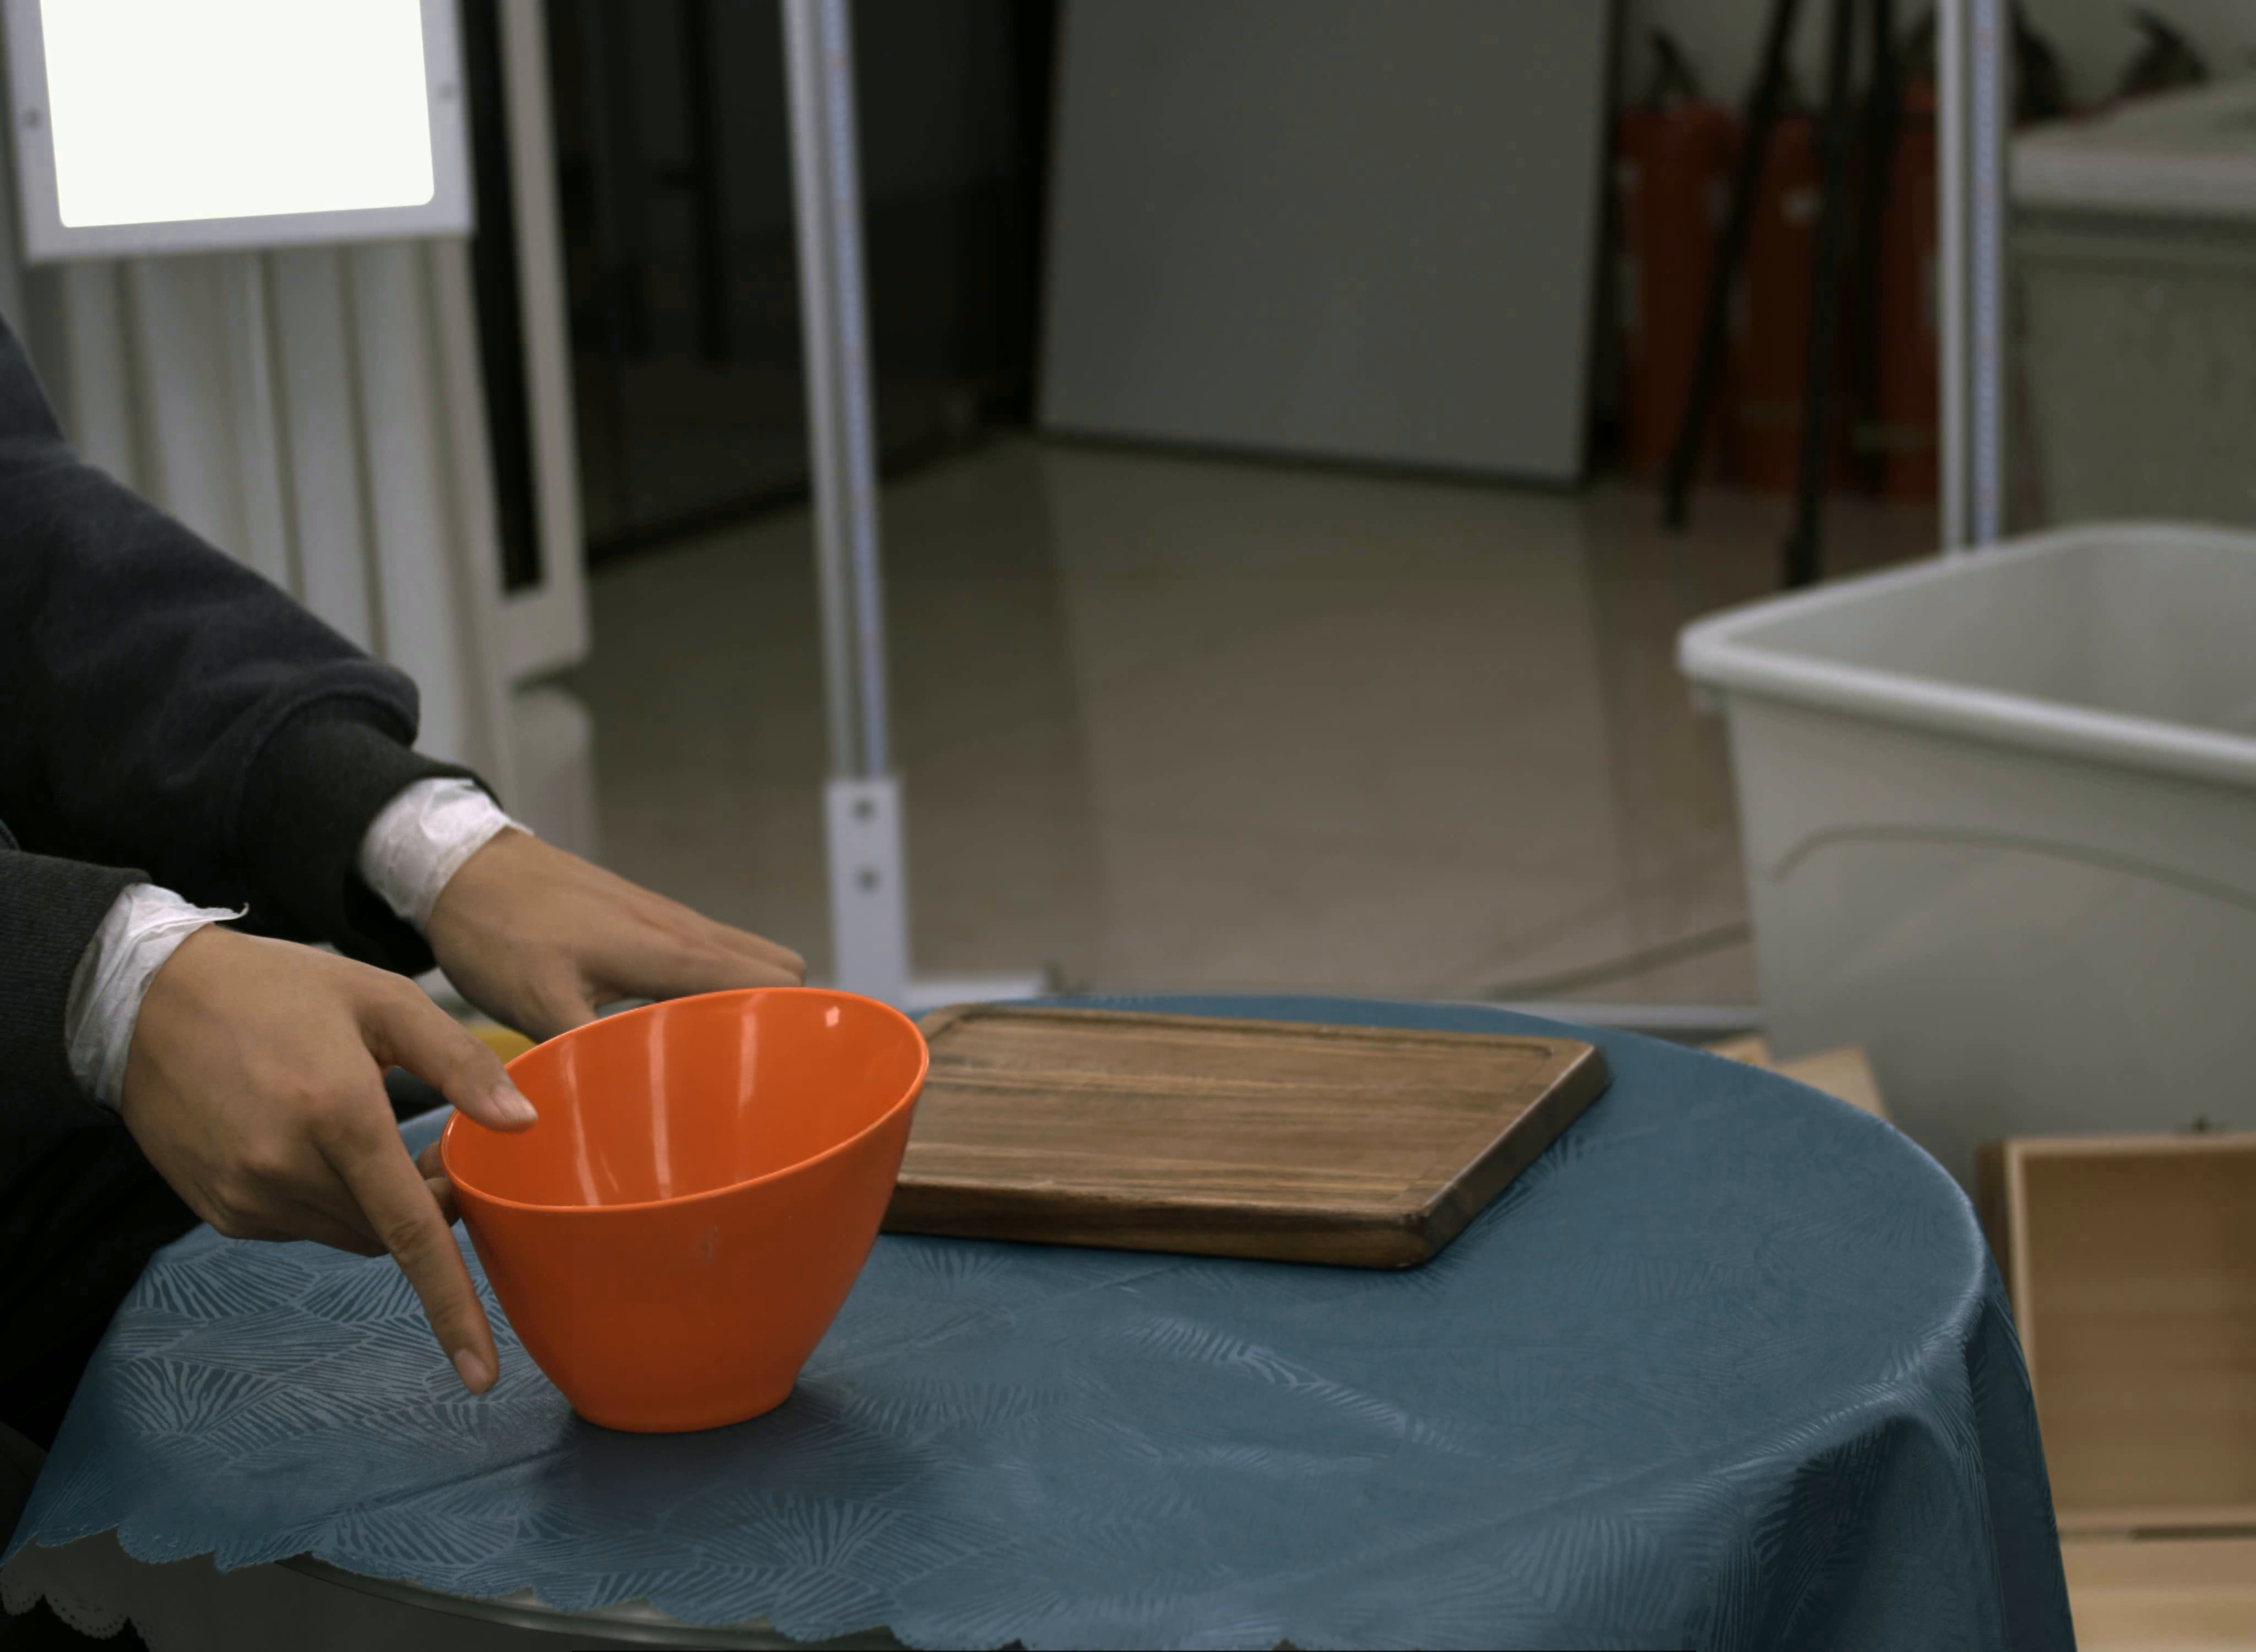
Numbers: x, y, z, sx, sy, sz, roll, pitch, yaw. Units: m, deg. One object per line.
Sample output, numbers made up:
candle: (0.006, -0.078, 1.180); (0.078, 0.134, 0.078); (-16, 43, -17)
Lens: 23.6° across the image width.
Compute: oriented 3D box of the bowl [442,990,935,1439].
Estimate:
bowl: (-0.127, 0.118, 1.601); (0.146, 0.106, 0.148); (-3, 14, 0)

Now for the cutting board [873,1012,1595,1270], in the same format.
cutting board: (-0.032, 0.101, 1.822); (0.352, 0.023, 0.199); (2, 15, 24)
